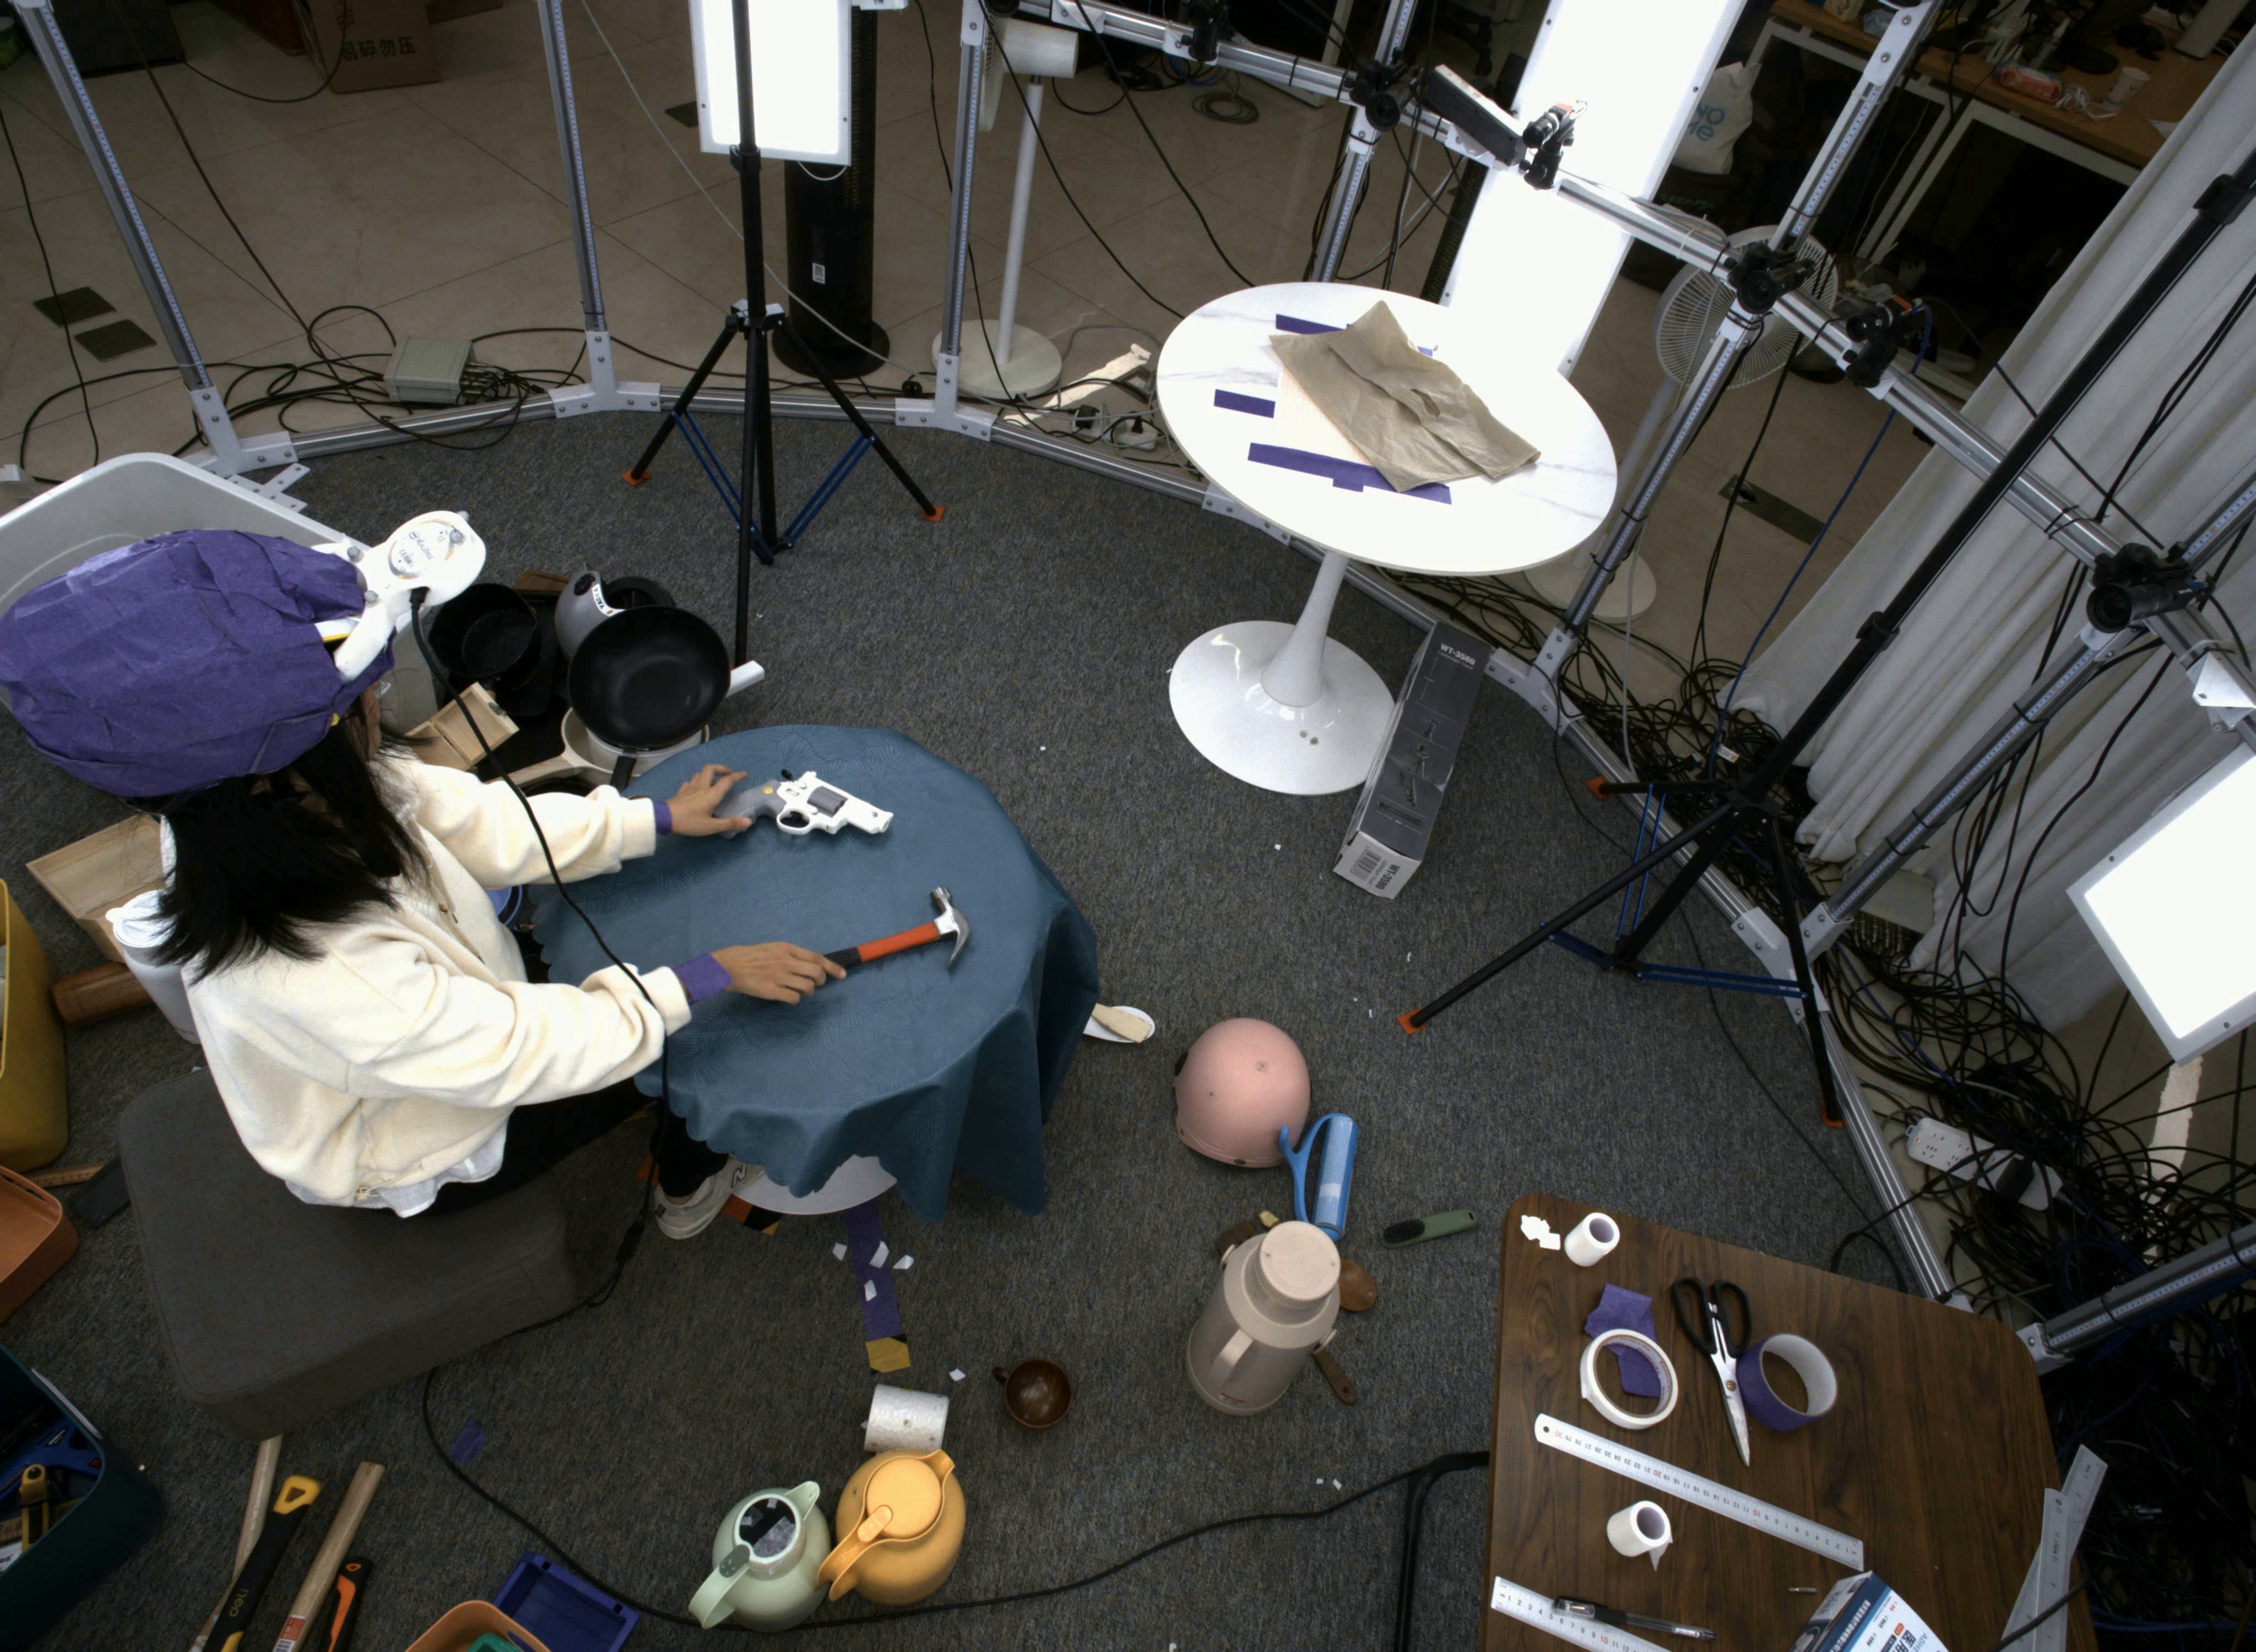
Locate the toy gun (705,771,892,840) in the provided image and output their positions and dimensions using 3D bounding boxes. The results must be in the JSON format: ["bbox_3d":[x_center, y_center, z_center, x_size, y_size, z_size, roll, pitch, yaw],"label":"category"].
[{"bbox_3d":[-0.432,-0.013,1.700,0.206,0.039,0.140,24,49,5],"label":"toy gun"}]

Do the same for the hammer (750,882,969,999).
[{"bbox_3d":[-0.328,0.155,1.608,0.279,0.026,0.109,-17,69,-26],"label":"hammer"}]
